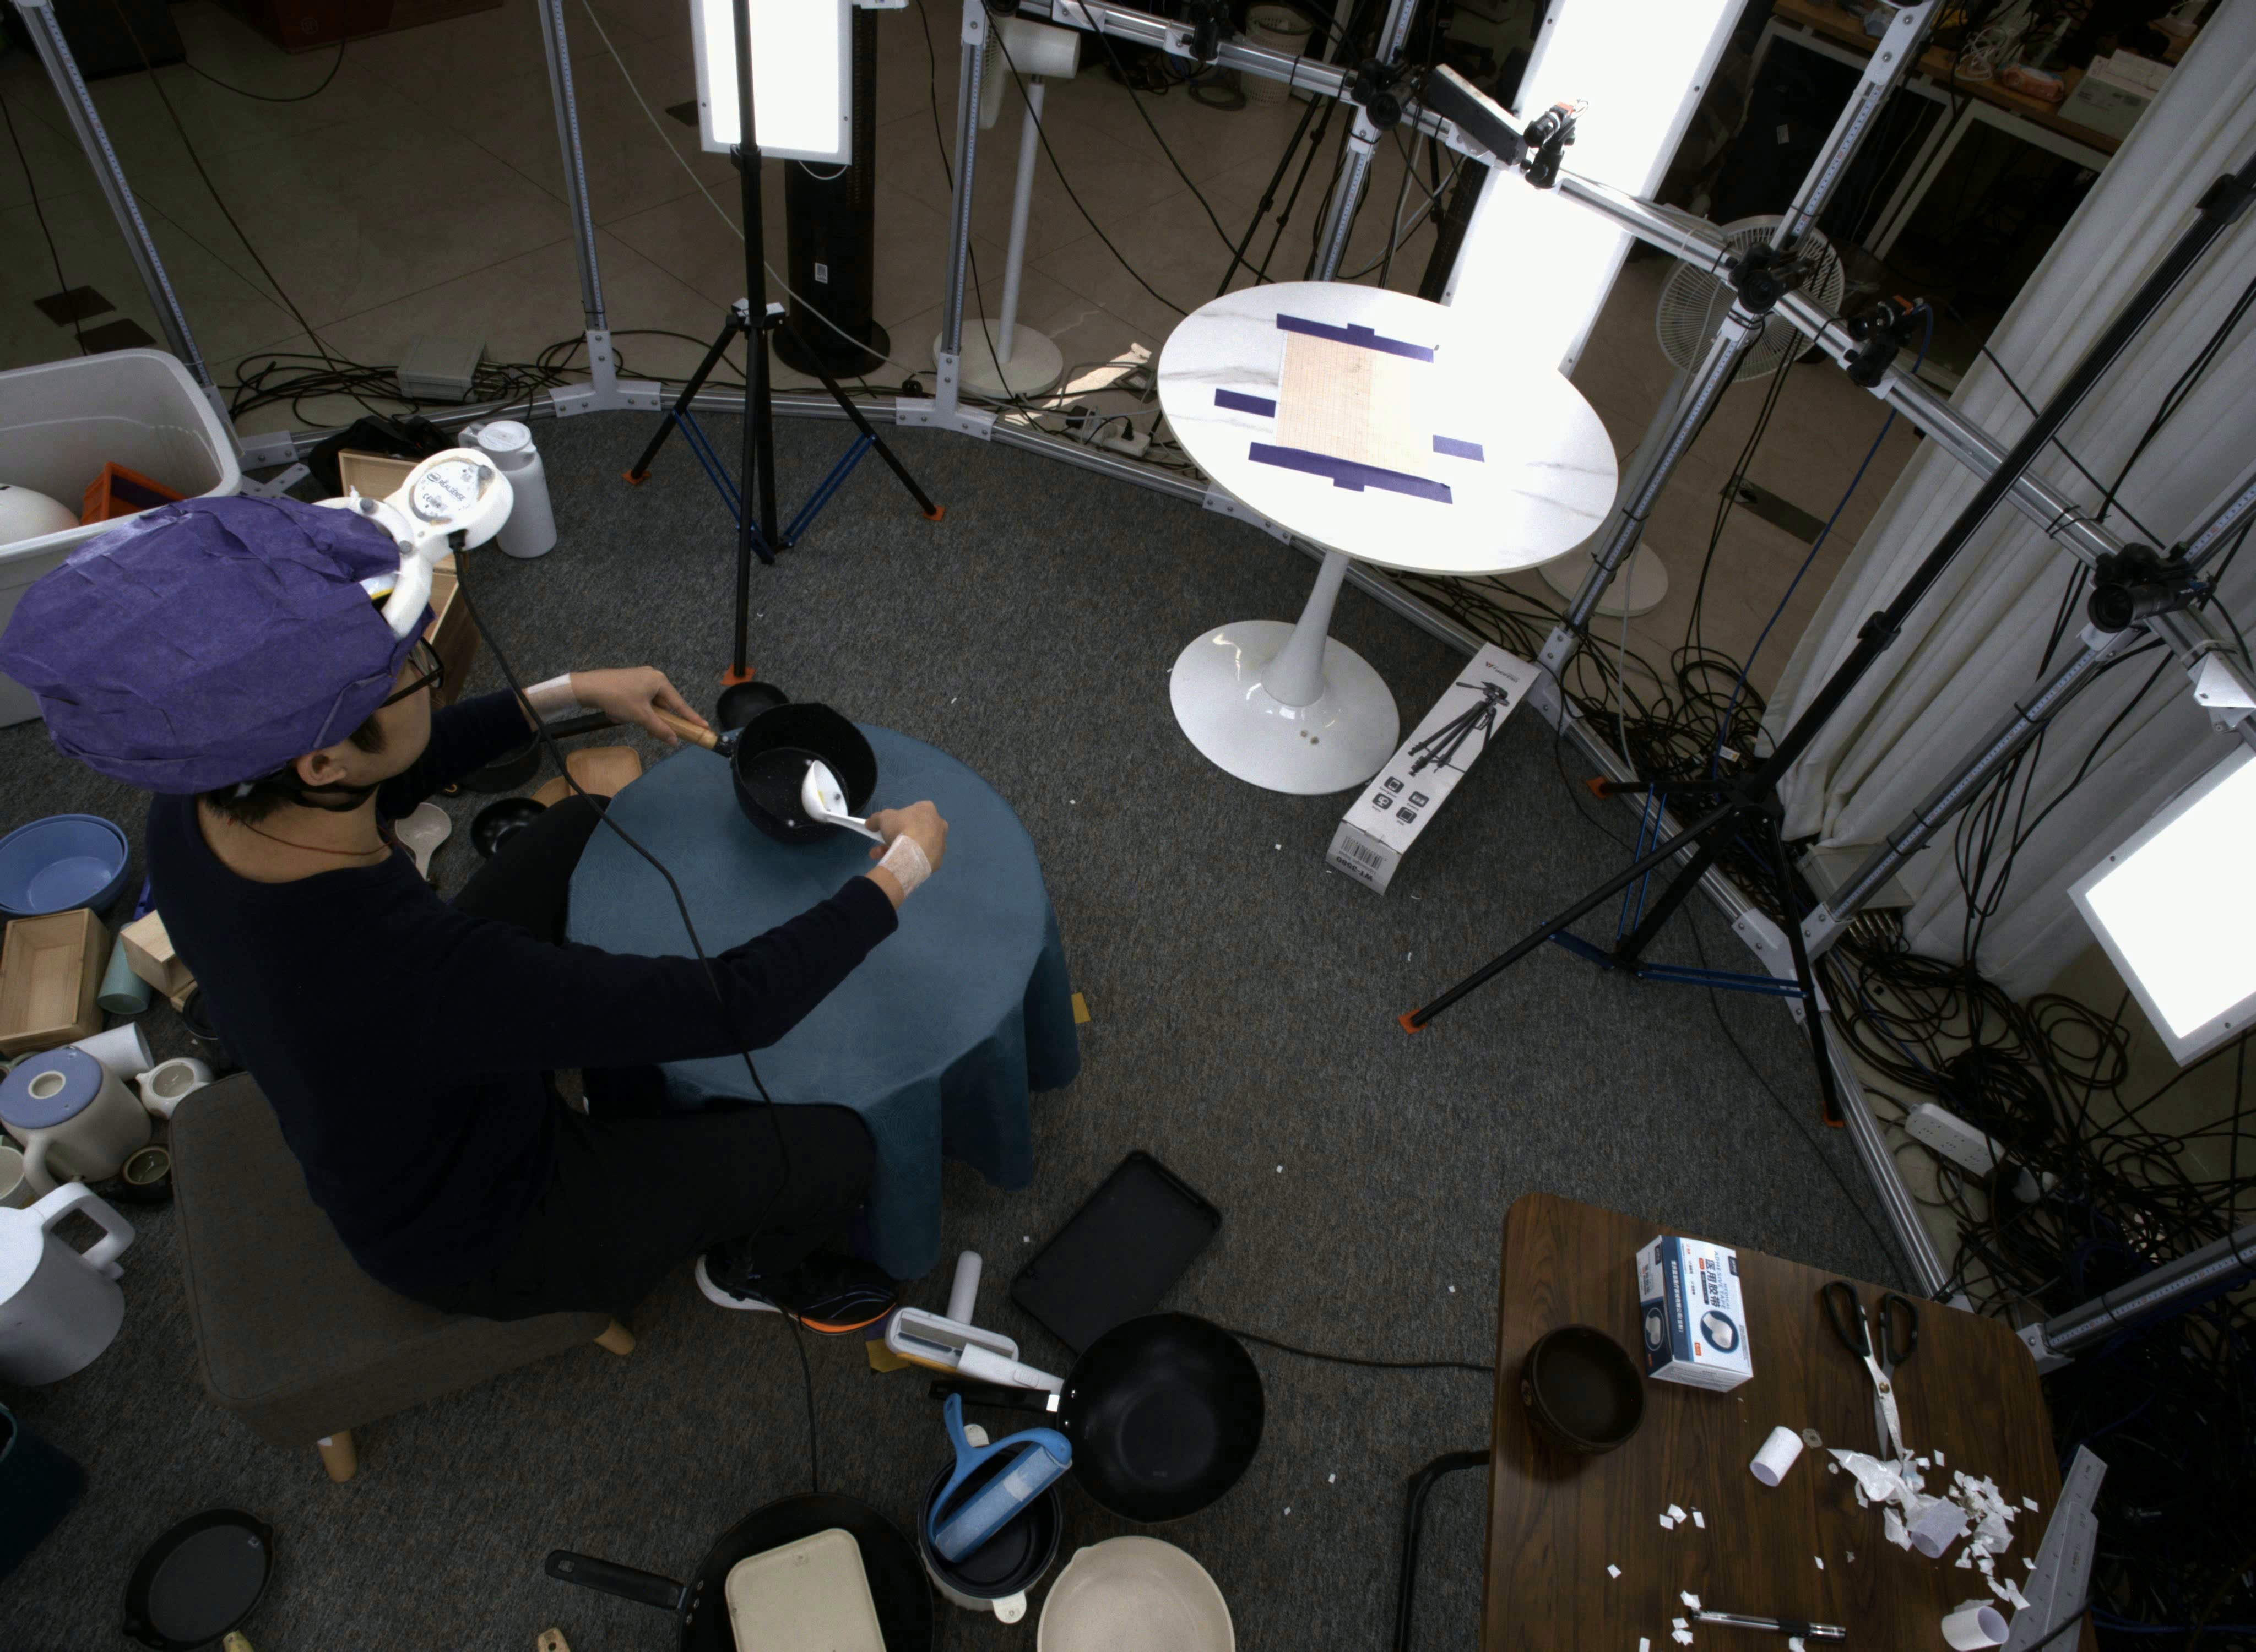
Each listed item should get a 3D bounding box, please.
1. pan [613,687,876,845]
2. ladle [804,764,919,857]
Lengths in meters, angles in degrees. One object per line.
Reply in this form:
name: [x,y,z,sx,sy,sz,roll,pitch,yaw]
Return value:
pan: [-0.496,-0.089,1.647,0.348,0.108,0.204,17,56,-22]
ladle: [-0.318,-0.014,1.571,0.070,0.093,0.282,-33,28,-29]
